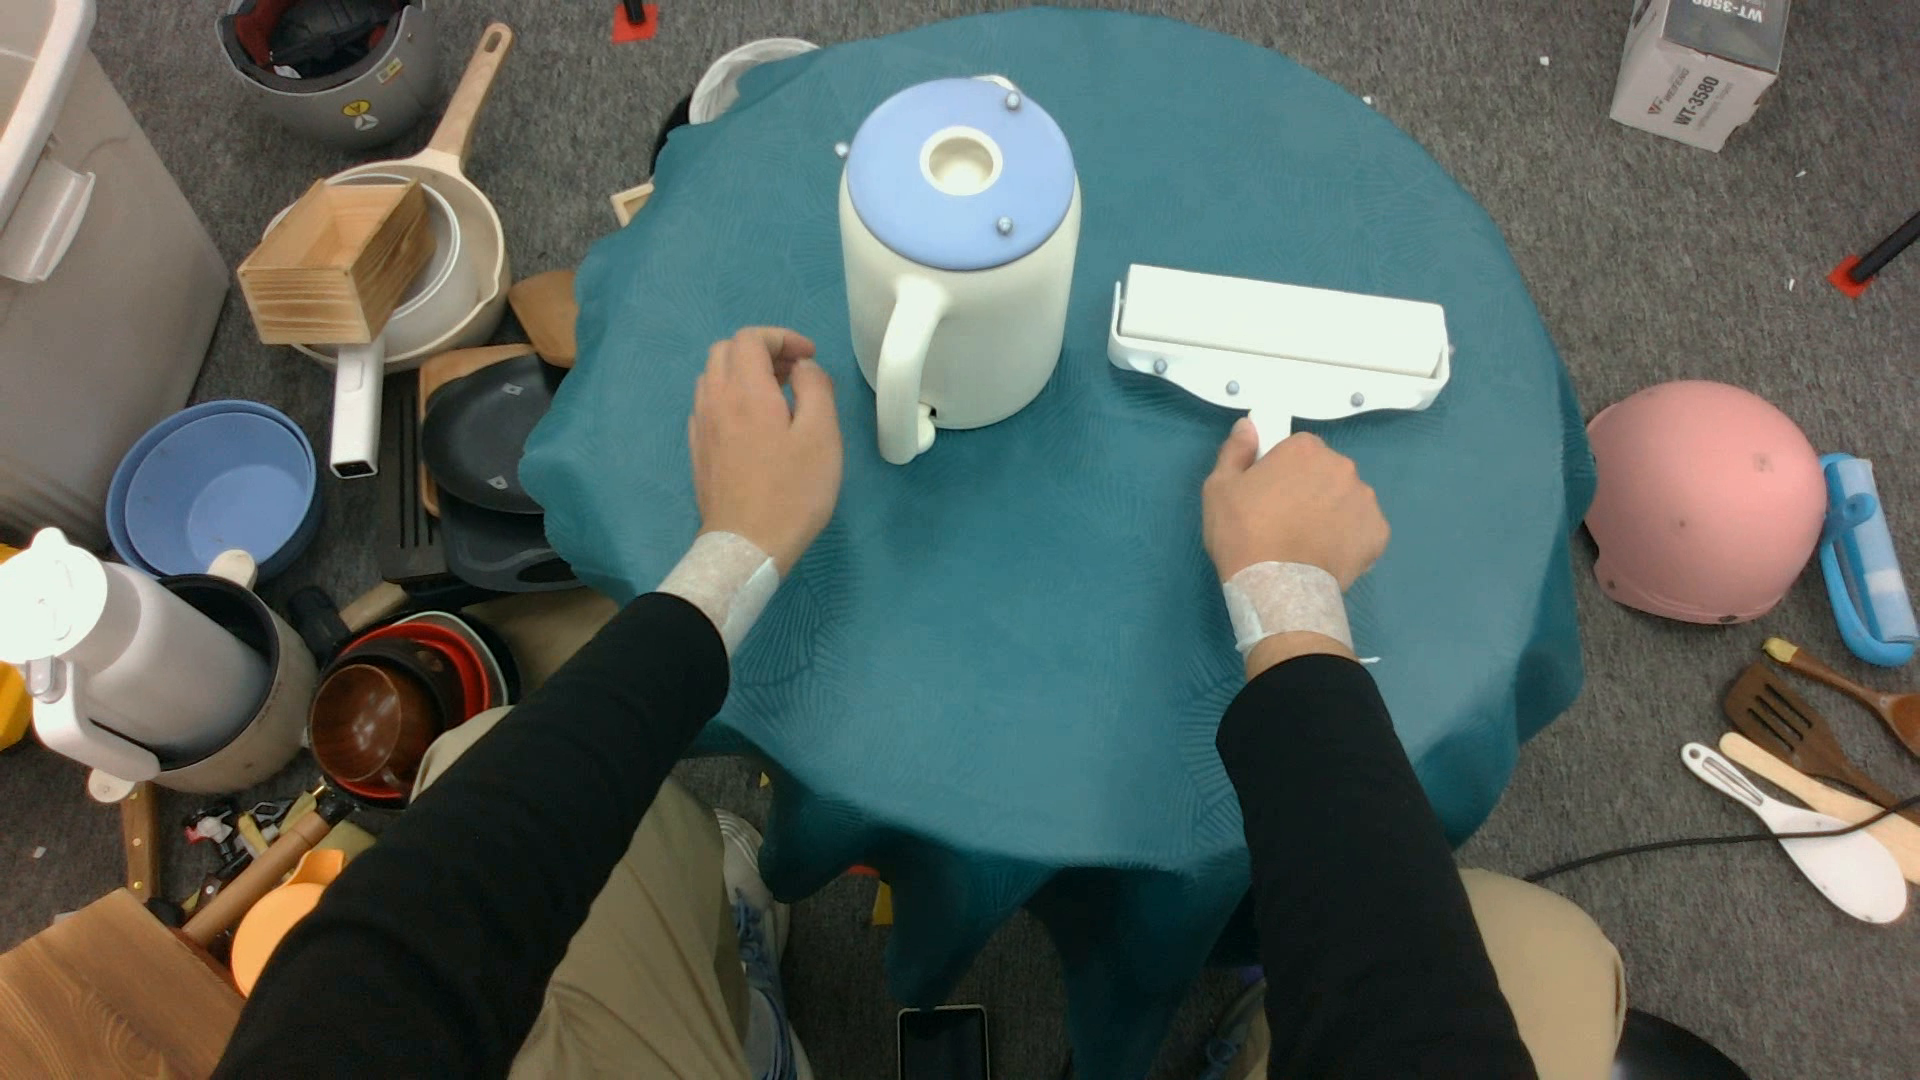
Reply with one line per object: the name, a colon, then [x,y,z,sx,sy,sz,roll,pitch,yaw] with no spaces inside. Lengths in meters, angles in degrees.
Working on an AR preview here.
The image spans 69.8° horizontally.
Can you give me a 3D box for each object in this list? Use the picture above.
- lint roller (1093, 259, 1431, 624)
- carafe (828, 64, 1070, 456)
lint roller: [0.174,-0.059,0.811,0.203,0.048,0.226,9,63,0]
carafe: [-0.014,-0.142,0.778,0.132,0.182,0.192,15,69,5]
